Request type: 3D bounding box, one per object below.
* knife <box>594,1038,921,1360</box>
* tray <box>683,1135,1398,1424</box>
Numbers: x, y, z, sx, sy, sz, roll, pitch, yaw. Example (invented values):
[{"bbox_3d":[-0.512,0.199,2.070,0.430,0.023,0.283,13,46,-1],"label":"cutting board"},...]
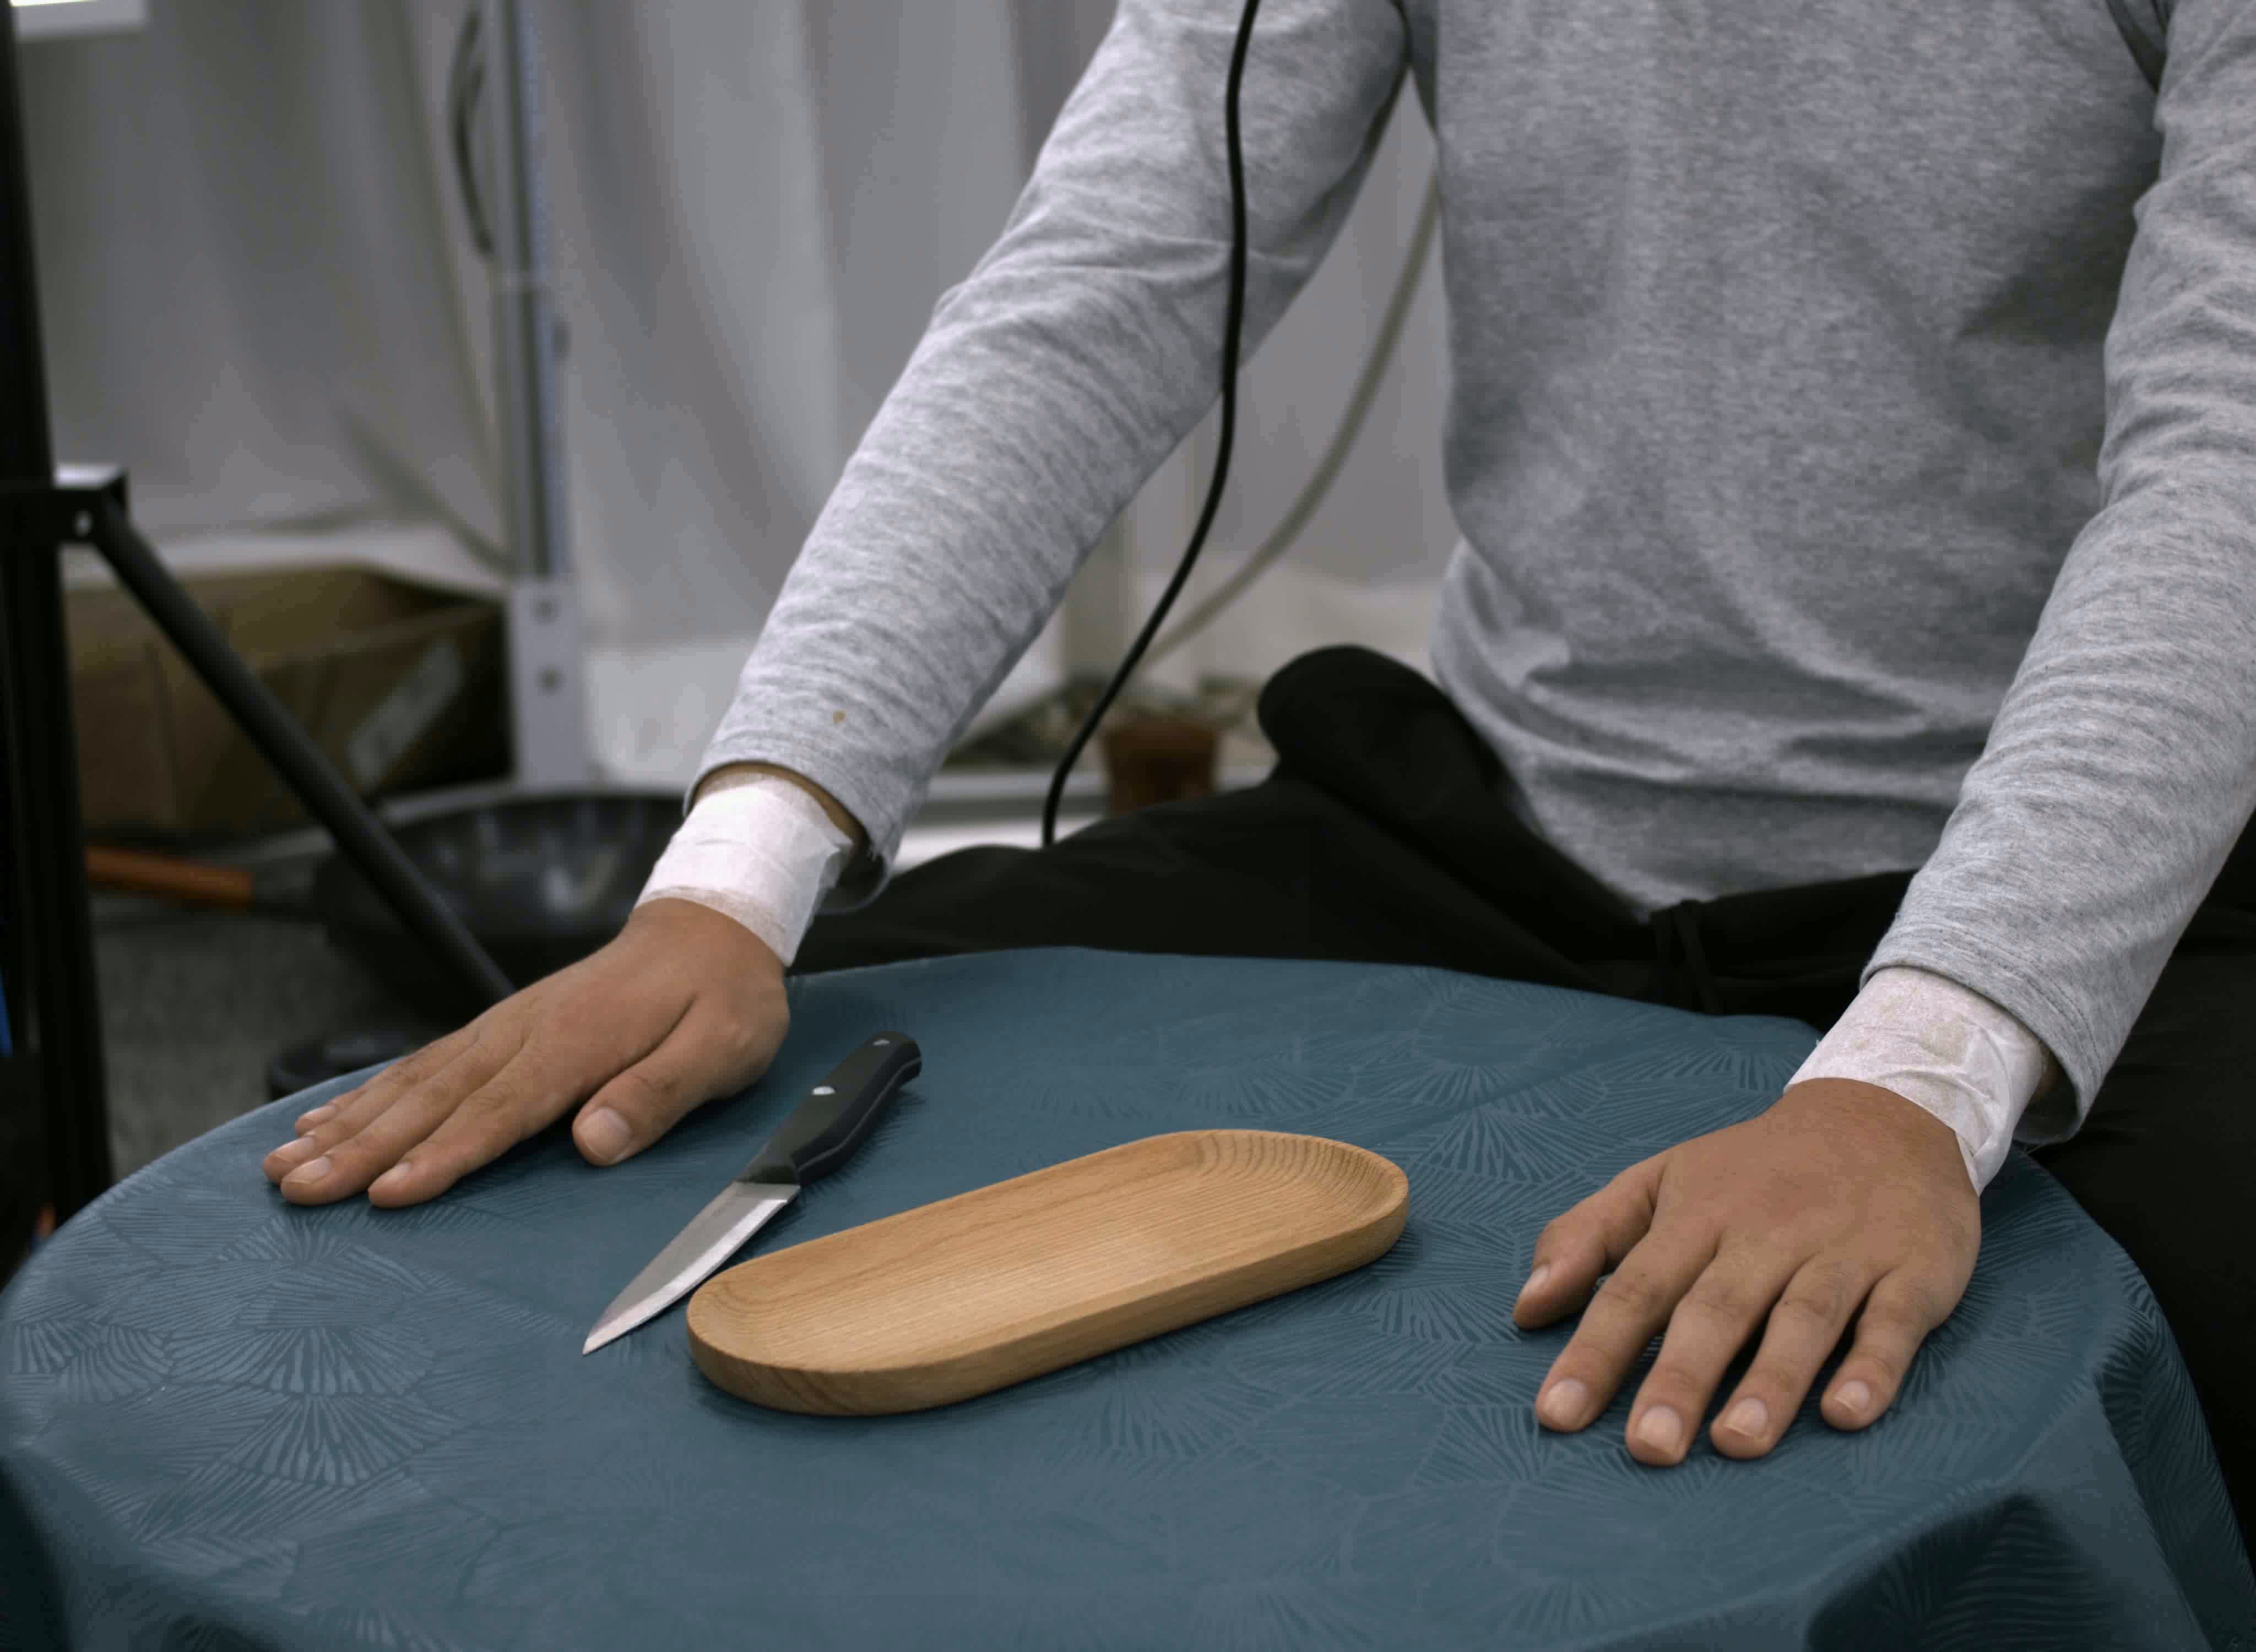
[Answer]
[{"bbox_3d":[-0.110,0.108,1.558,0.025,0.016,0.236,5,20,18],"label":"knife"},{"bbox_3d":[-0.021,0.125,1.478,0.226,0.020,0.104,-17,20,-38],"label":"tray"}]
